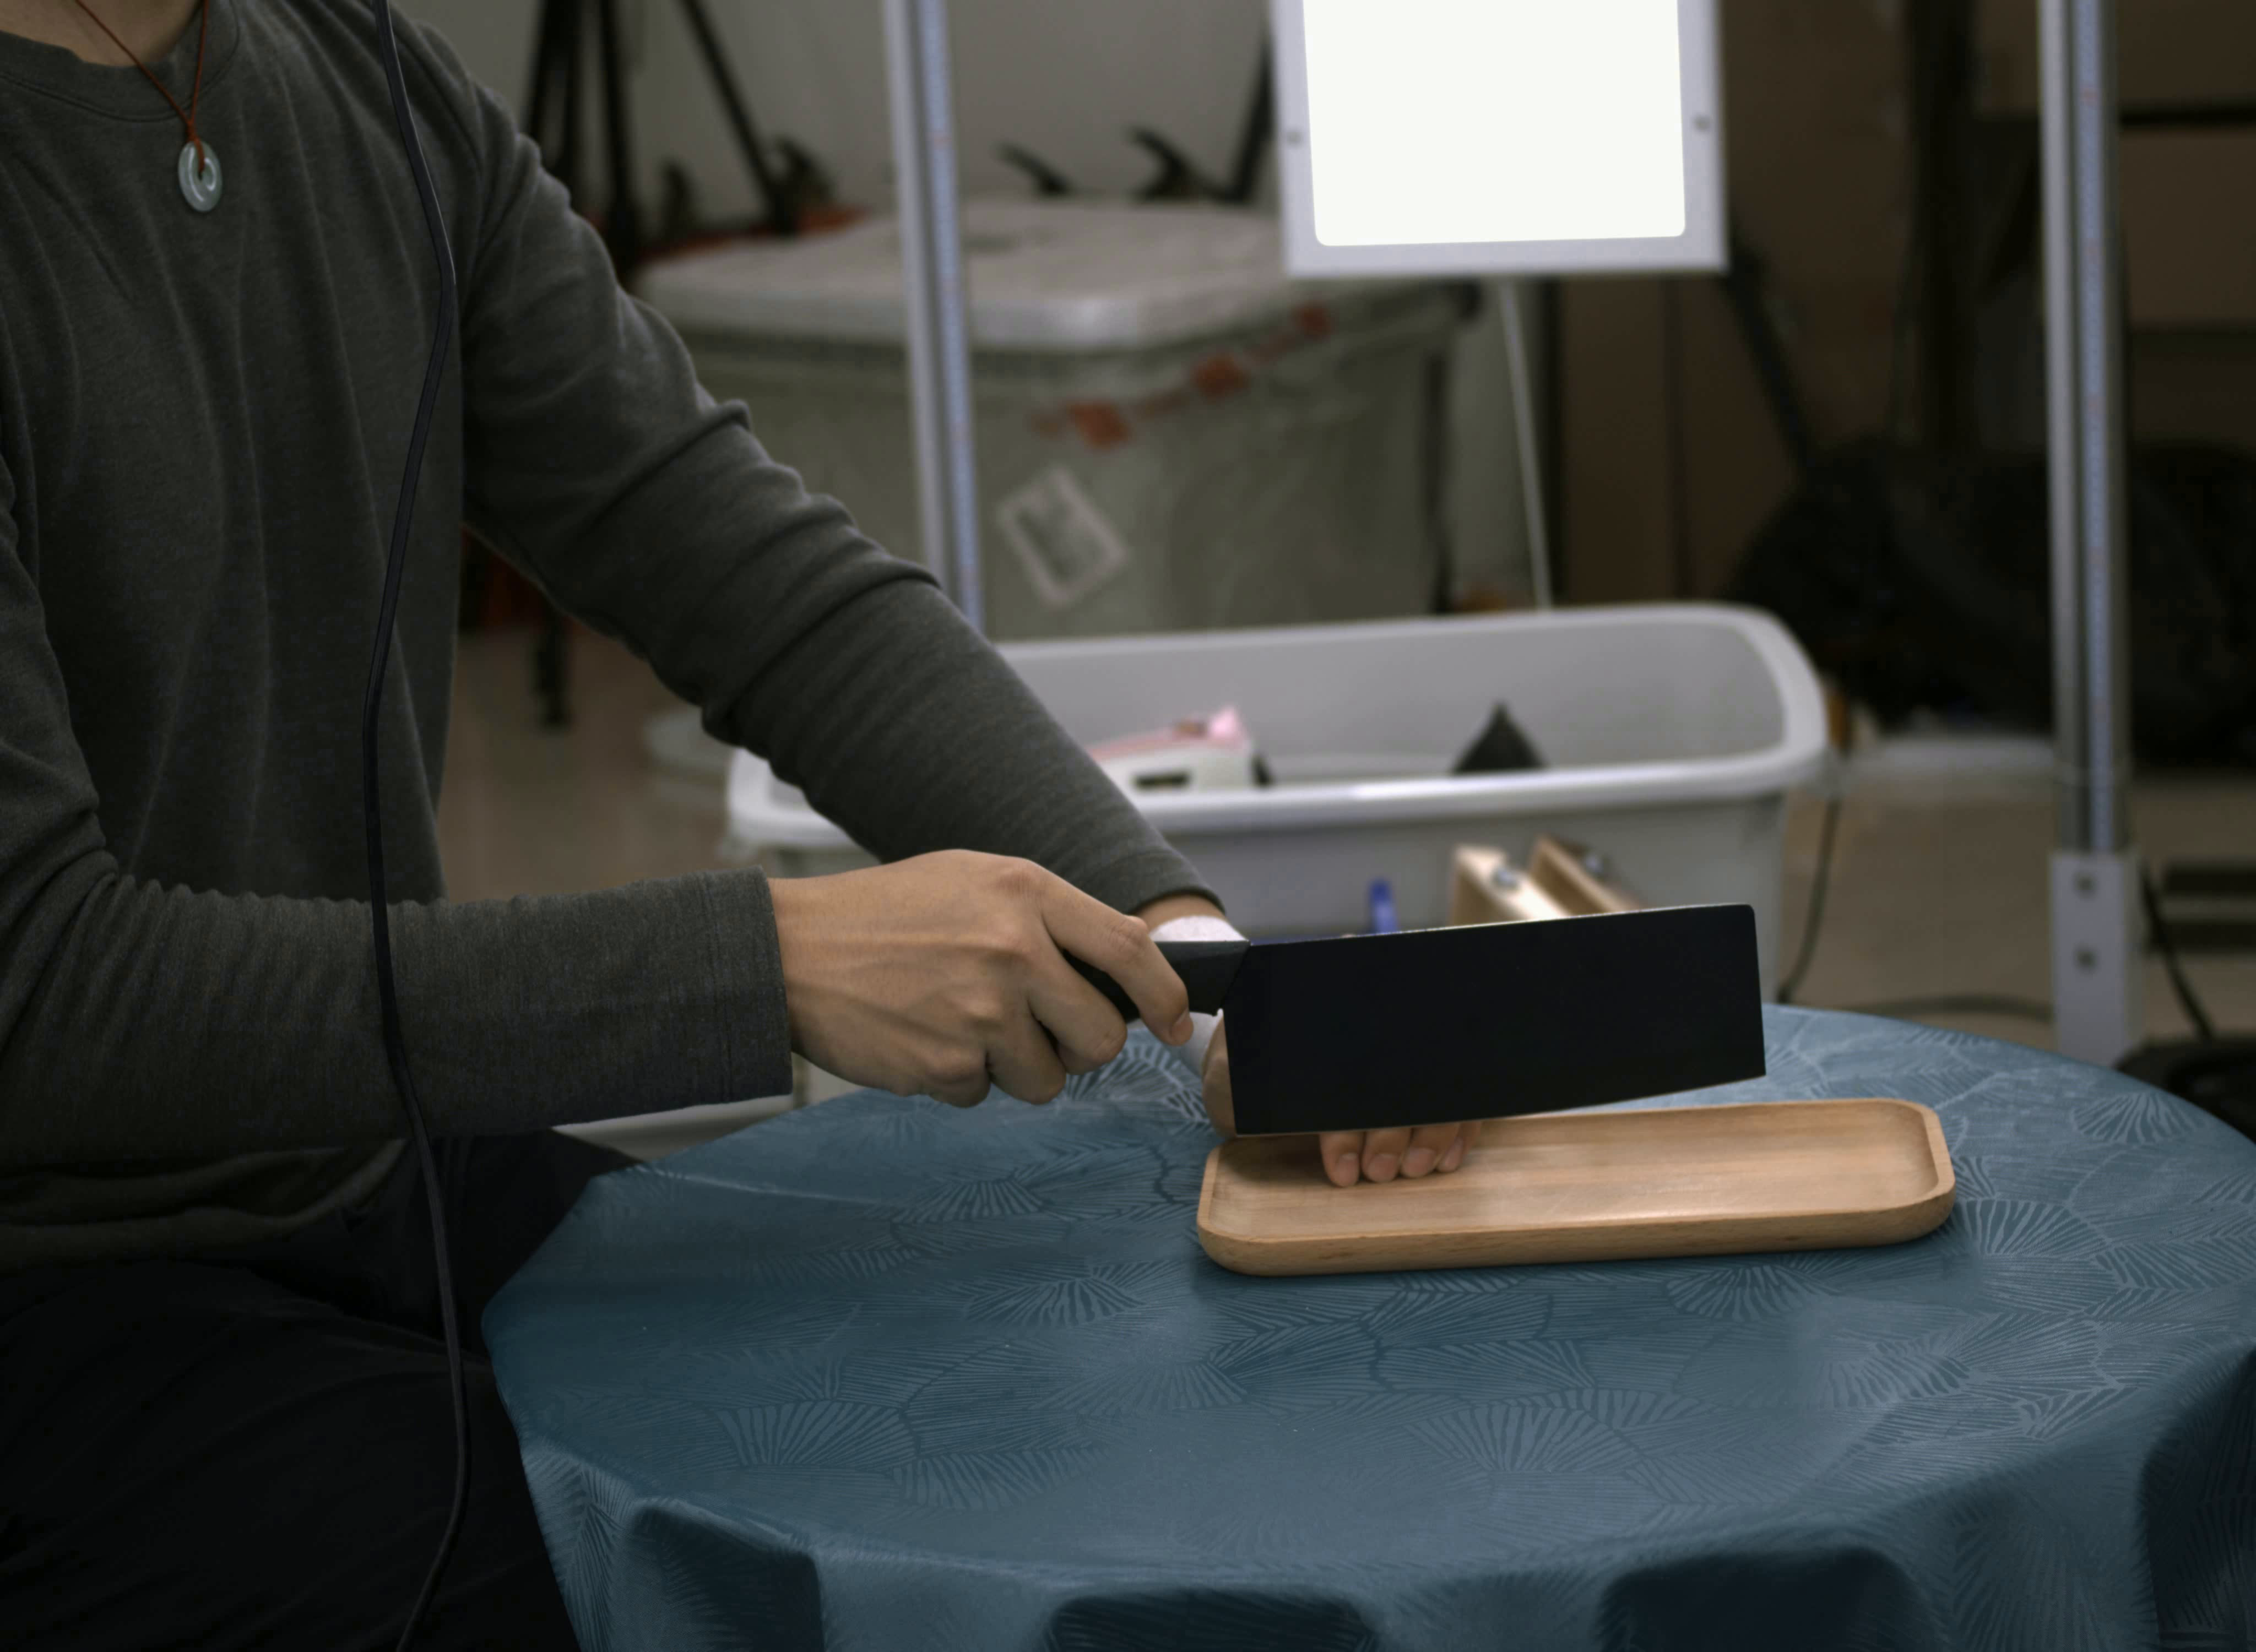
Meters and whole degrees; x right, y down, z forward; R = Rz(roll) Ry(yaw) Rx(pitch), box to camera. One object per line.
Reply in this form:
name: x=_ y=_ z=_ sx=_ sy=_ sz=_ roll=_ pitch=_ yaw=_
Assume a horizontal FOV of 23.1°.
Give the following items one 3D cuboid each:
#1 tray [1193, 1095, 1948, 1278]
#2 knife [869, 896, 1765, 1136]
tray: x=0.149 y=0.120 z=1.840 sx=0.252 sy=0.023 sz=0.129 roll=-4 pitch=11 yaw=8
knife: x=0.063 y=0.065 z=1.846 sx=0.302 sy=0.081 sz=0.021 roll=-1 pitch=7 yaw=5
